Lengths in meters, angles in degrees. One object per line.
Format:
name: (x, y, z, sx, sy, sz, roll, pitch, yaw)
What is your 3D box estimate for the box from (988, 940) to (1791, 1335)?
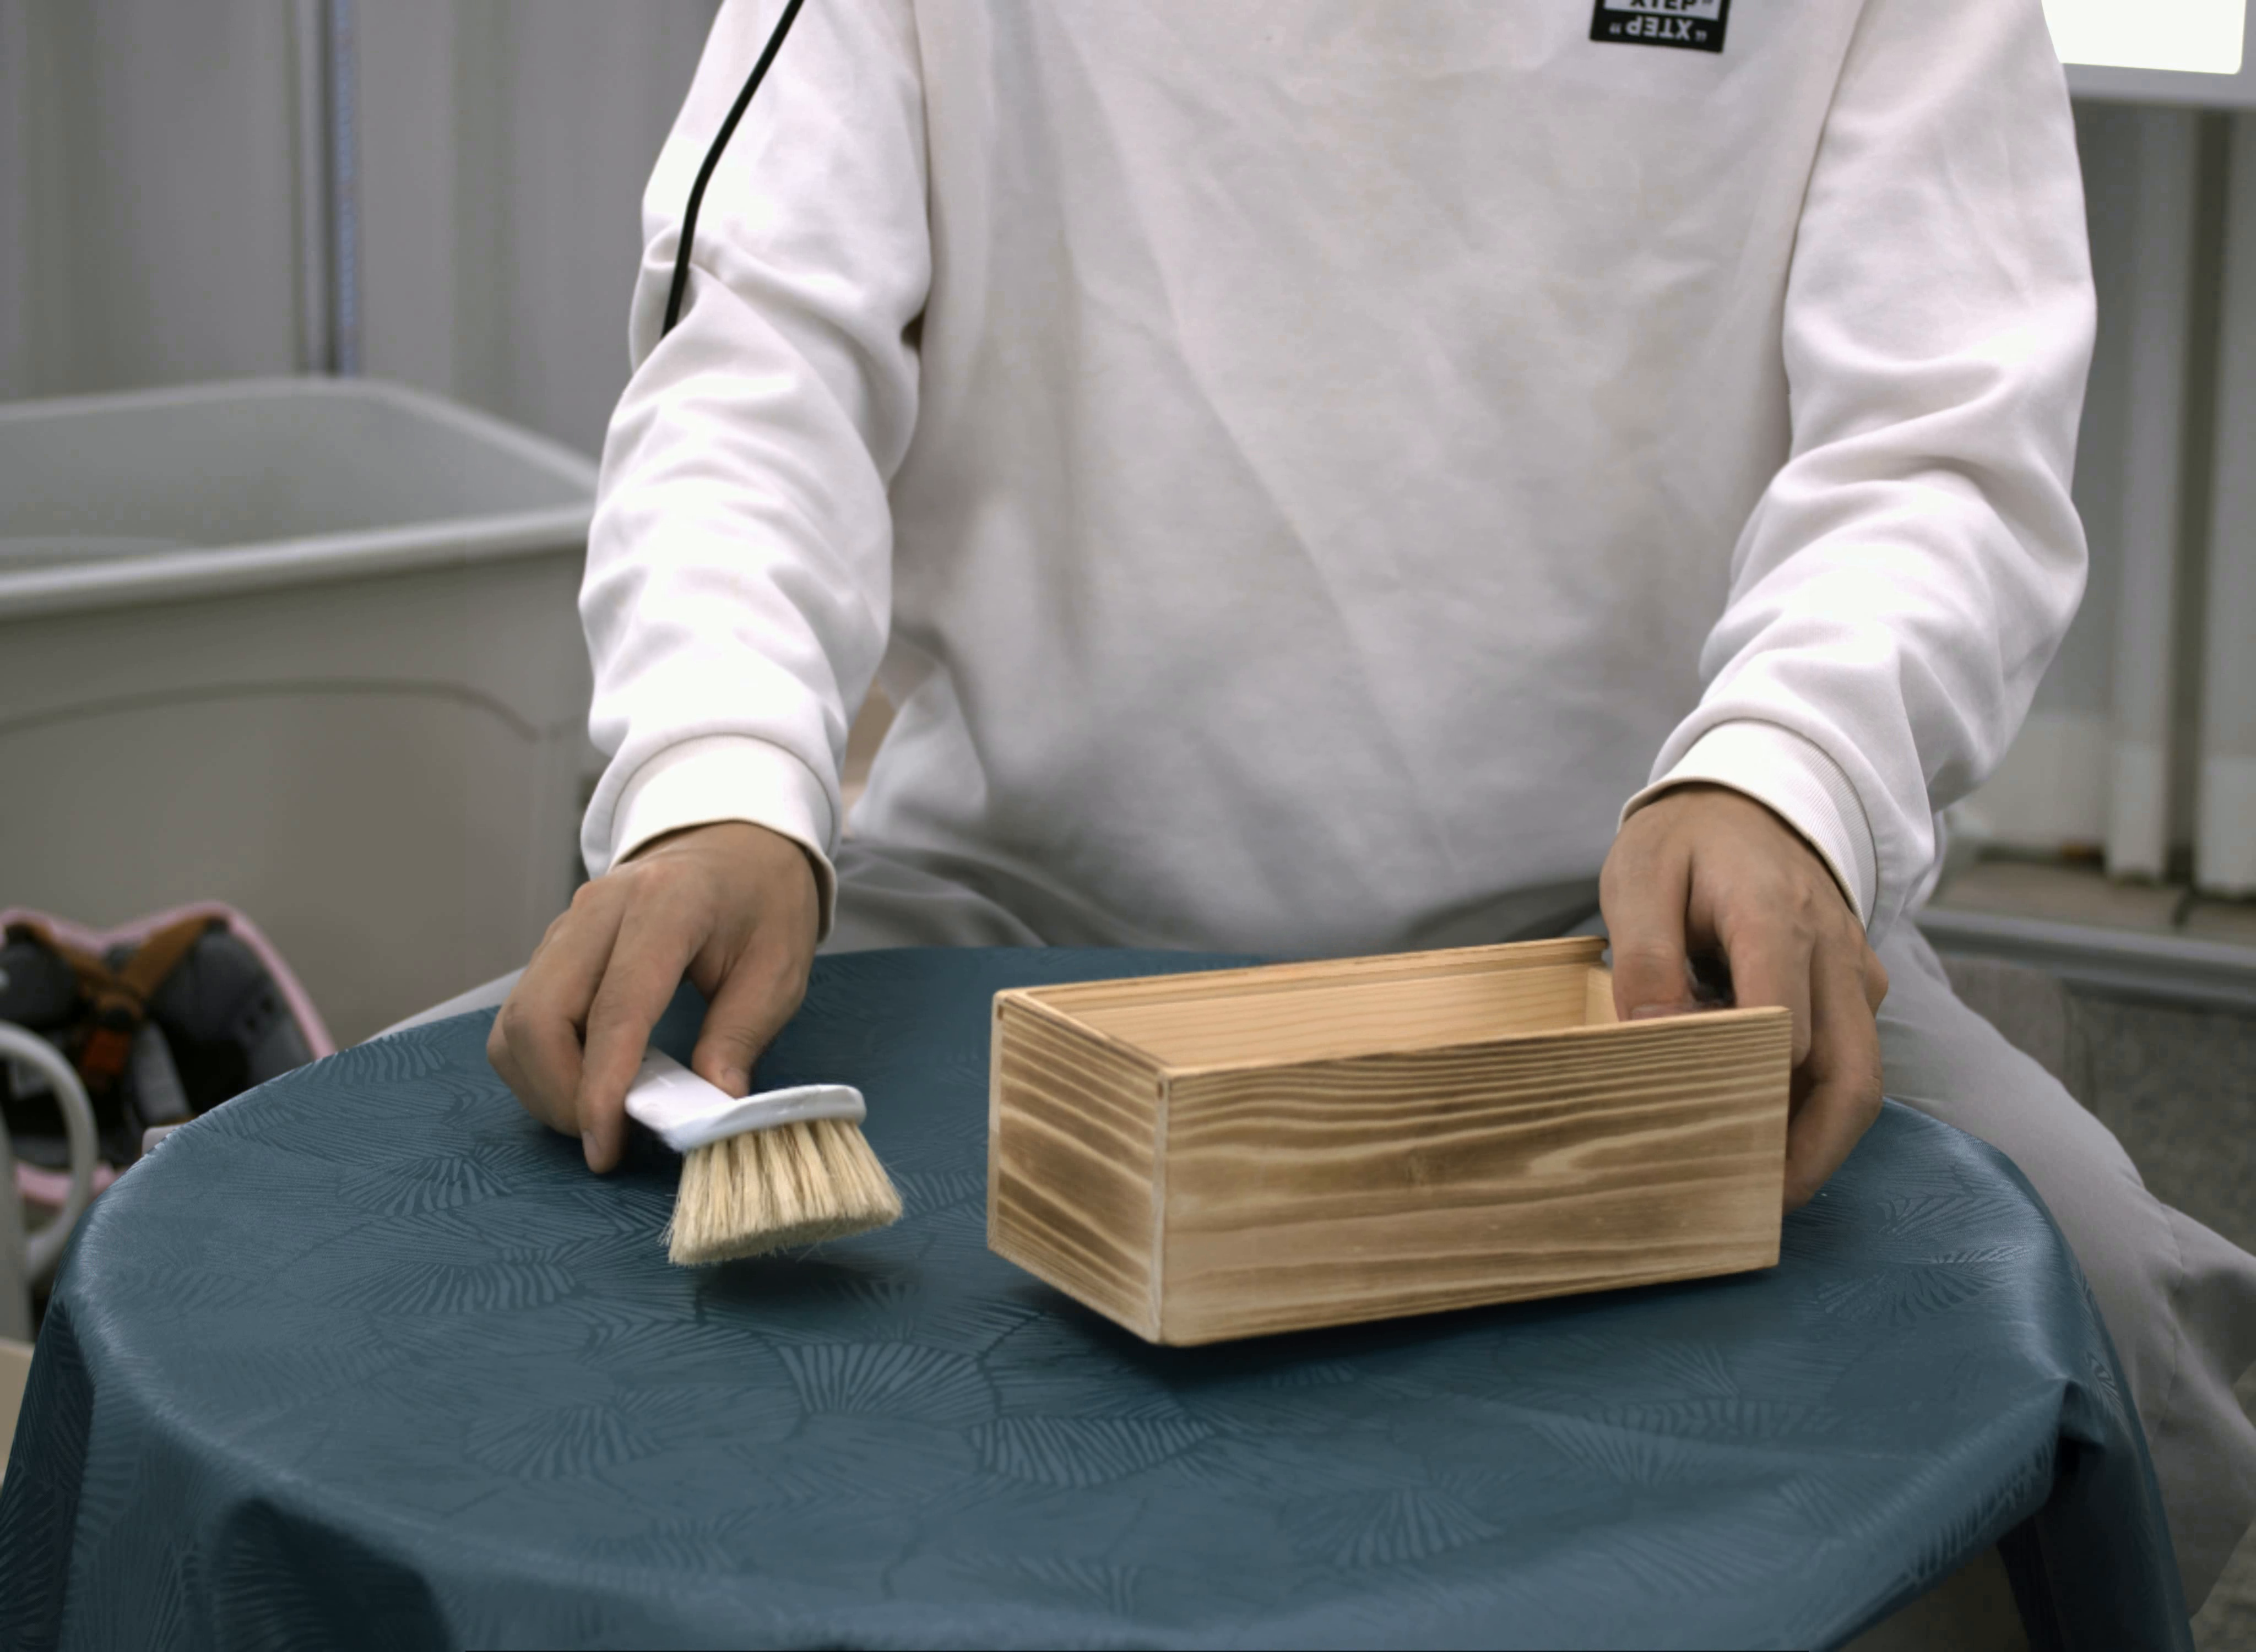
box: (0.076, 0.088, 1.543, 0.212, 0.081, 0.106, -4, 13, -30)

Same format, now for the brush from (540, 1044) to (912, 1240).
brush: (-0.135, 0.097, 1.638, 0.069, 0.056, 0.264, 0, -2, -22)
